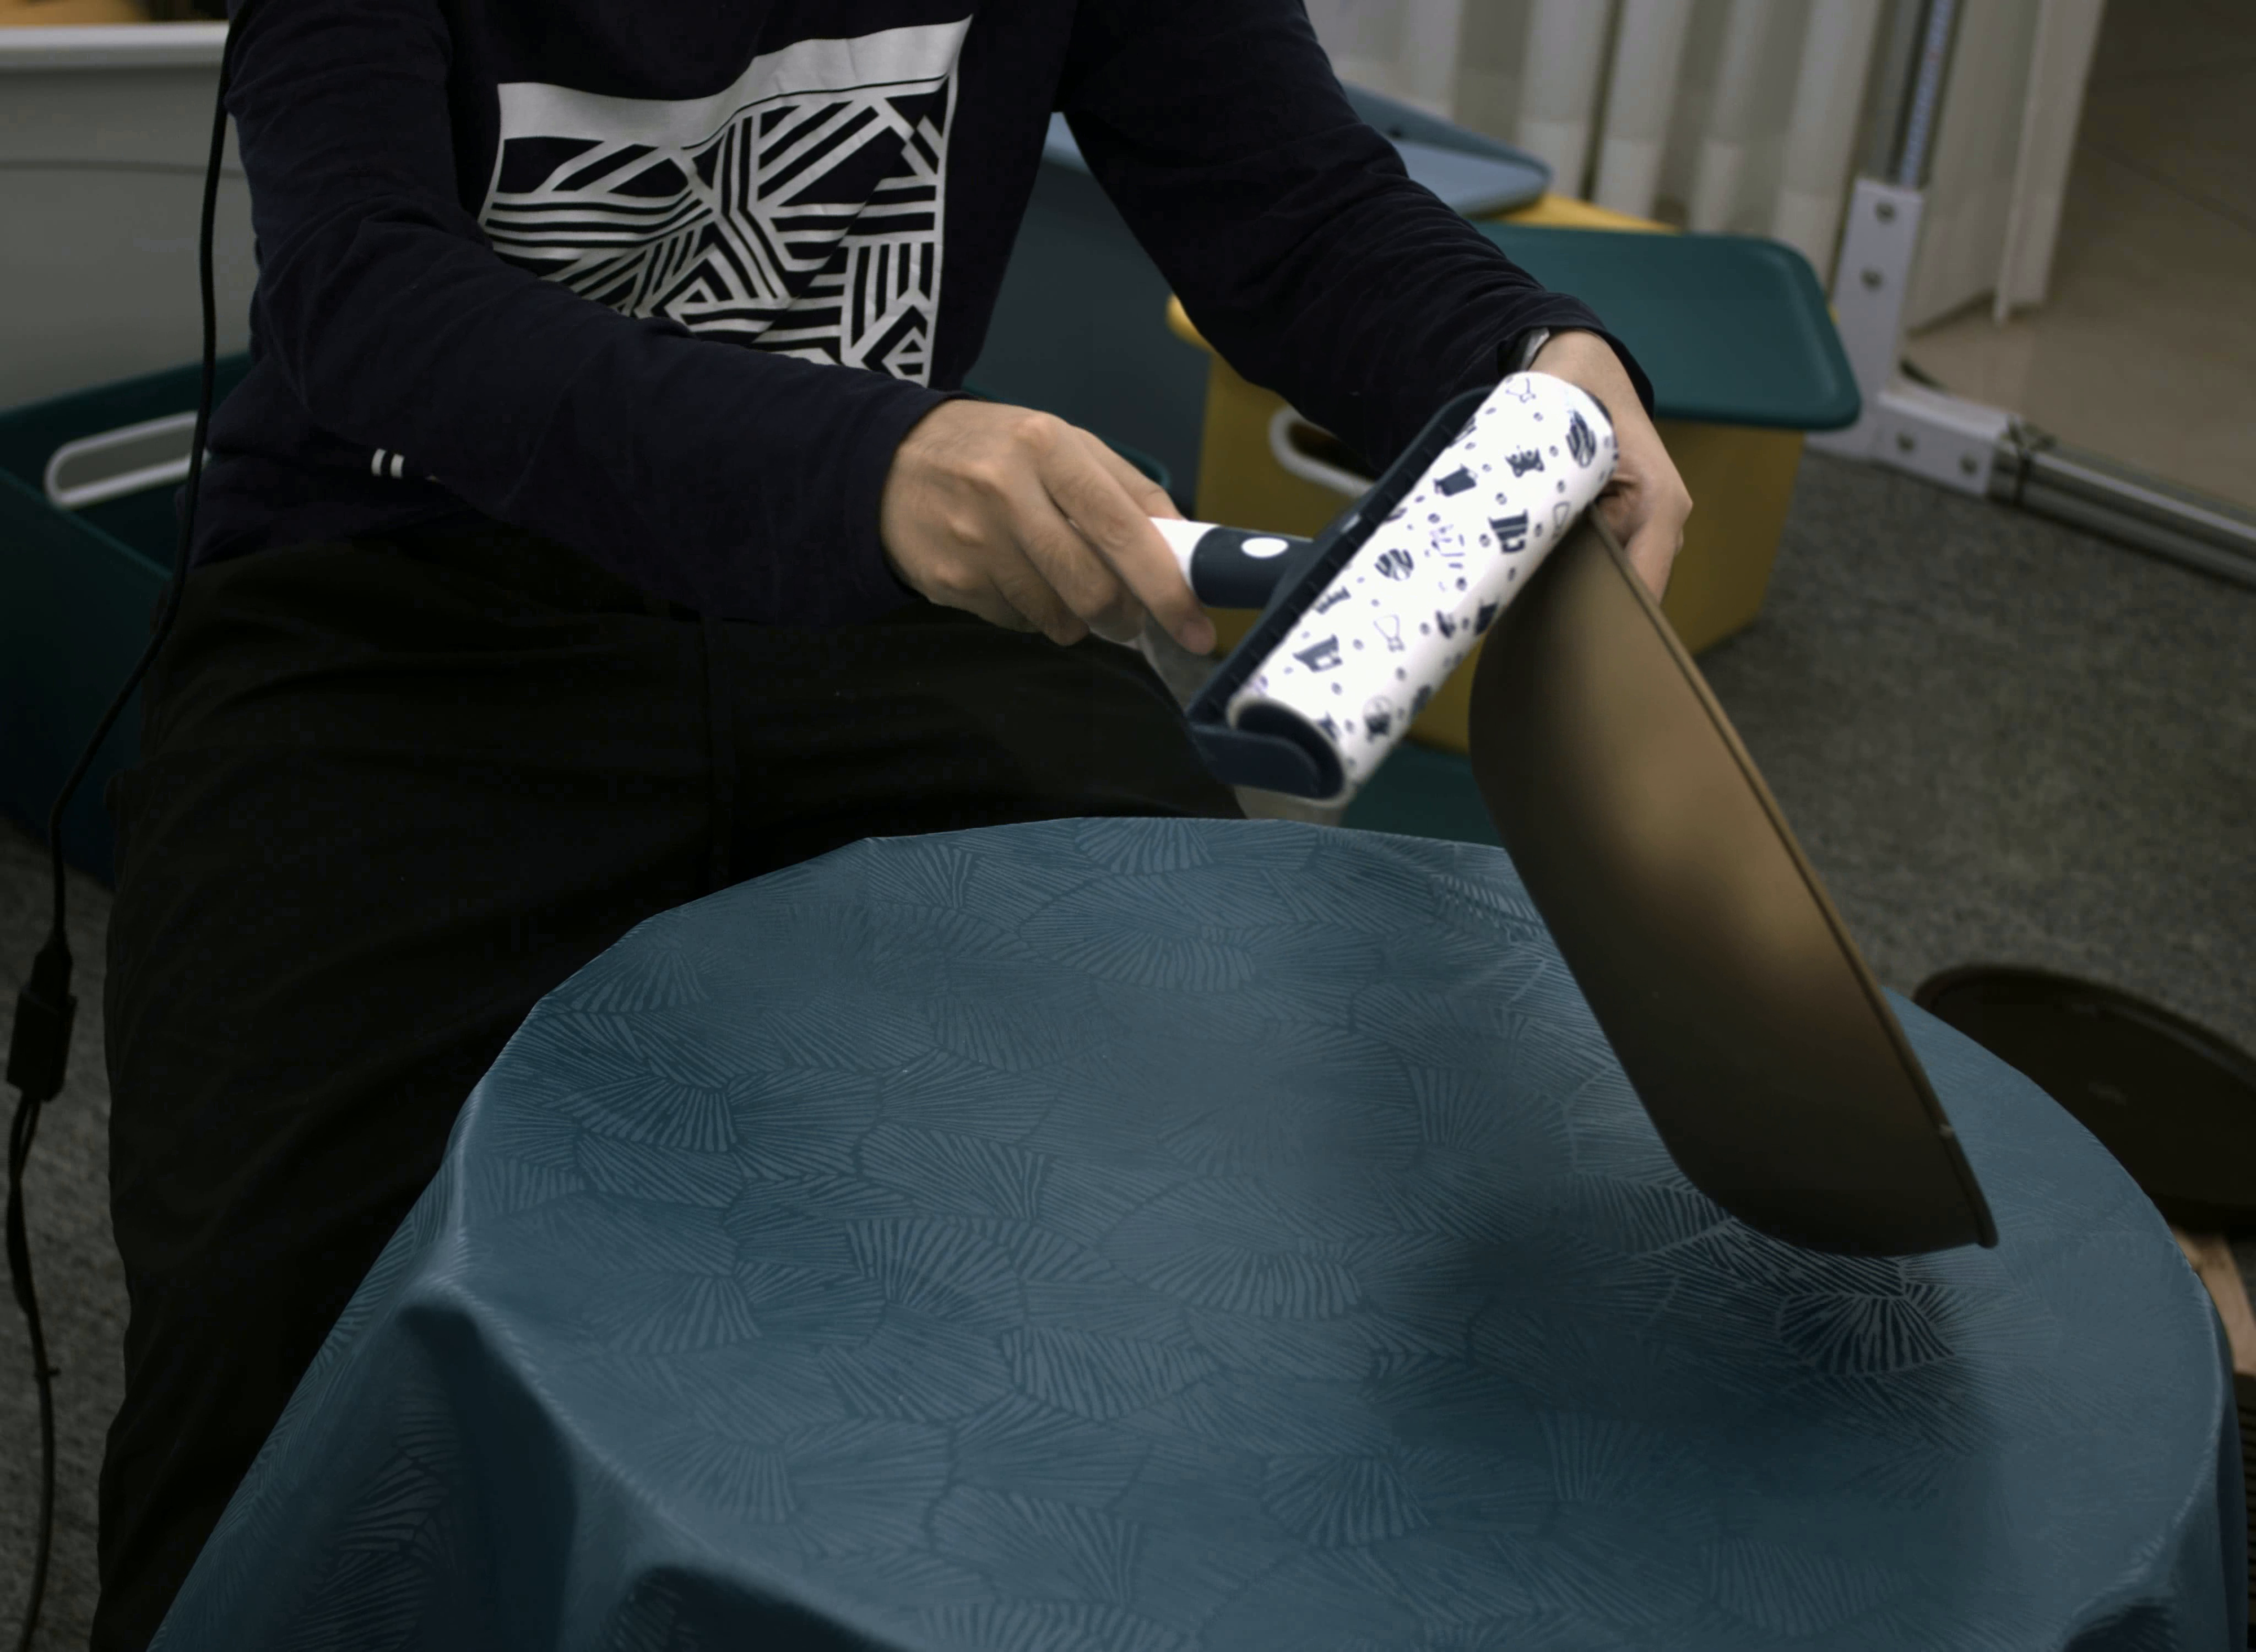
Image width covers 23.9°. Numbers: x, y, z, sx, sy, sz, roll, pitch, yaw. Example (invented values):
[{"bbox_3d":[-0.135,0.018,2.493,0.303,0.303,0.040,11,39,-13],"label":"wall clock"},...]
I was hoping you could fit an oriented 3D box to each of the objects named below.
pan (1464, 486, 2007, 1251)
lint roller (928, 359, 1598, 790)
[{"bbox_3d":[0.163,-0.017,1.822,0.087,0.286,0.467,-29,34,3],"label":"pan"},{"bbox_3d":[0.017,-0.089,1.759,0.248,0.050,0.176,7,47,44],"label":"lint roller"}]
